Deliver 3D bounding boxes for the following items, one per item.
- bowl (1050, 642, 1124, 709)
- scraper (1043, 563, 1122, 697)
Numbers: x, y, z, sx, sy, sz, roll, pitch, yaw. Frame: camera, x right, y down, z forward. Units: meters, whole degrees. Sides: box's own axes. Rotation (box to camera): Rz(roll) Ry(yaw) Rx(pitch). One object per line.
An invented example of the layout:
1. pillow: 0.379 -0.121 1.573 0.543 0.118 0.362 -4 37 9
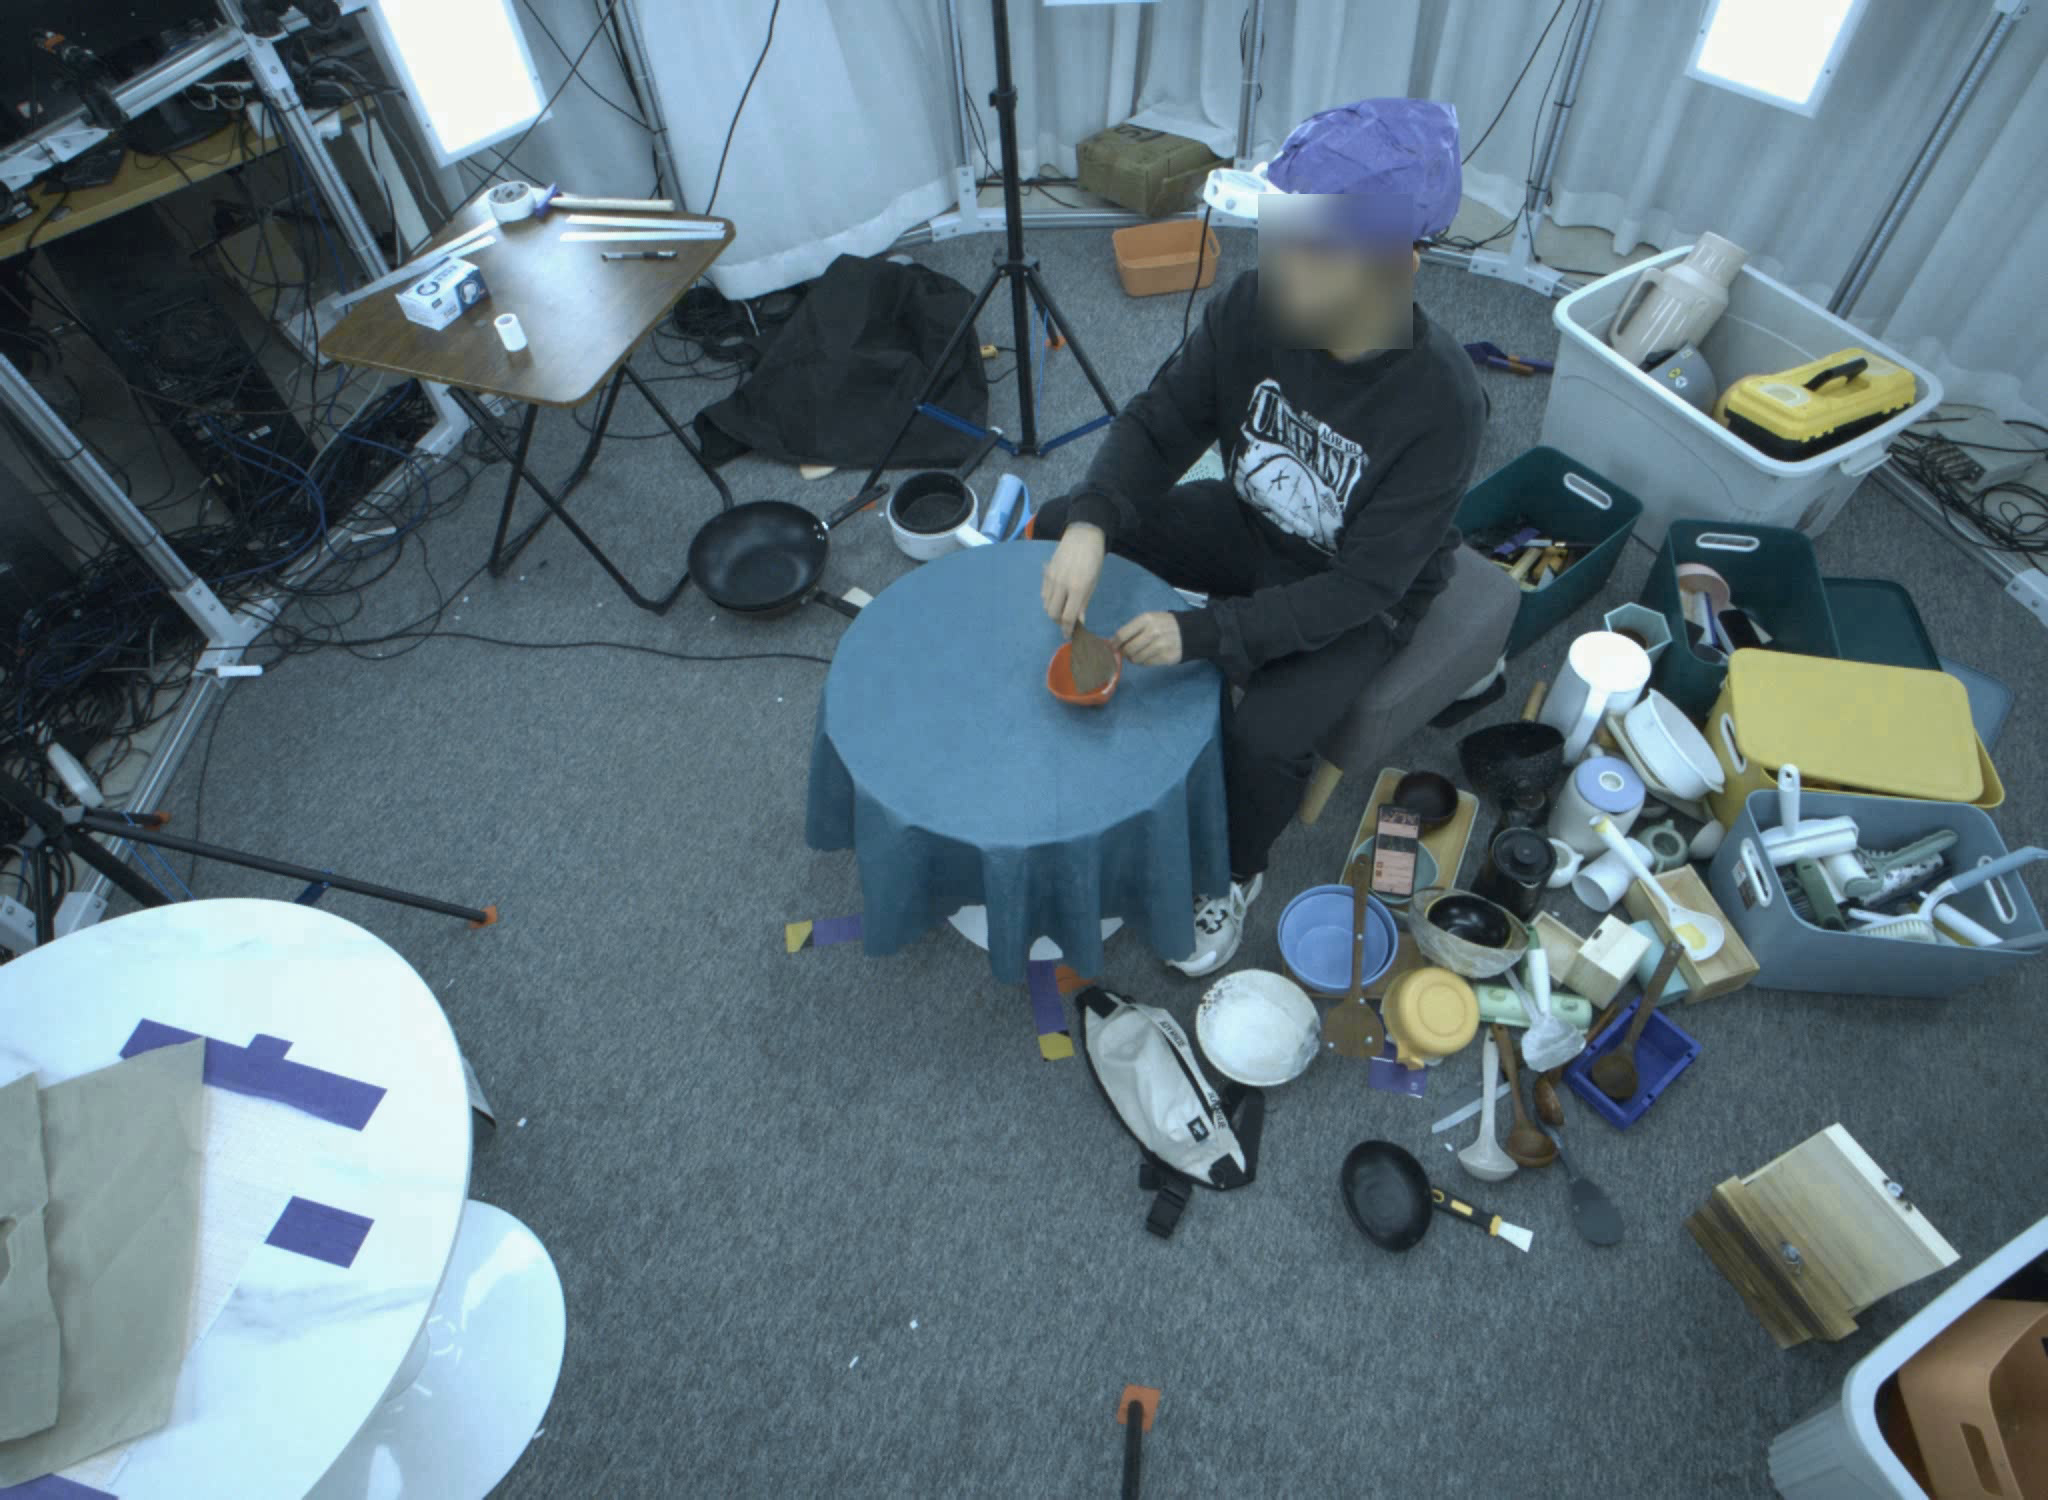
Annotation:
1. bowl: 0.099 -0.103 1.827 0.118 0.052 0.118 -10 55 16
2. scraper: 0.075 -0.180 1.793 0.075 0.011 0.209 -29 75 23
